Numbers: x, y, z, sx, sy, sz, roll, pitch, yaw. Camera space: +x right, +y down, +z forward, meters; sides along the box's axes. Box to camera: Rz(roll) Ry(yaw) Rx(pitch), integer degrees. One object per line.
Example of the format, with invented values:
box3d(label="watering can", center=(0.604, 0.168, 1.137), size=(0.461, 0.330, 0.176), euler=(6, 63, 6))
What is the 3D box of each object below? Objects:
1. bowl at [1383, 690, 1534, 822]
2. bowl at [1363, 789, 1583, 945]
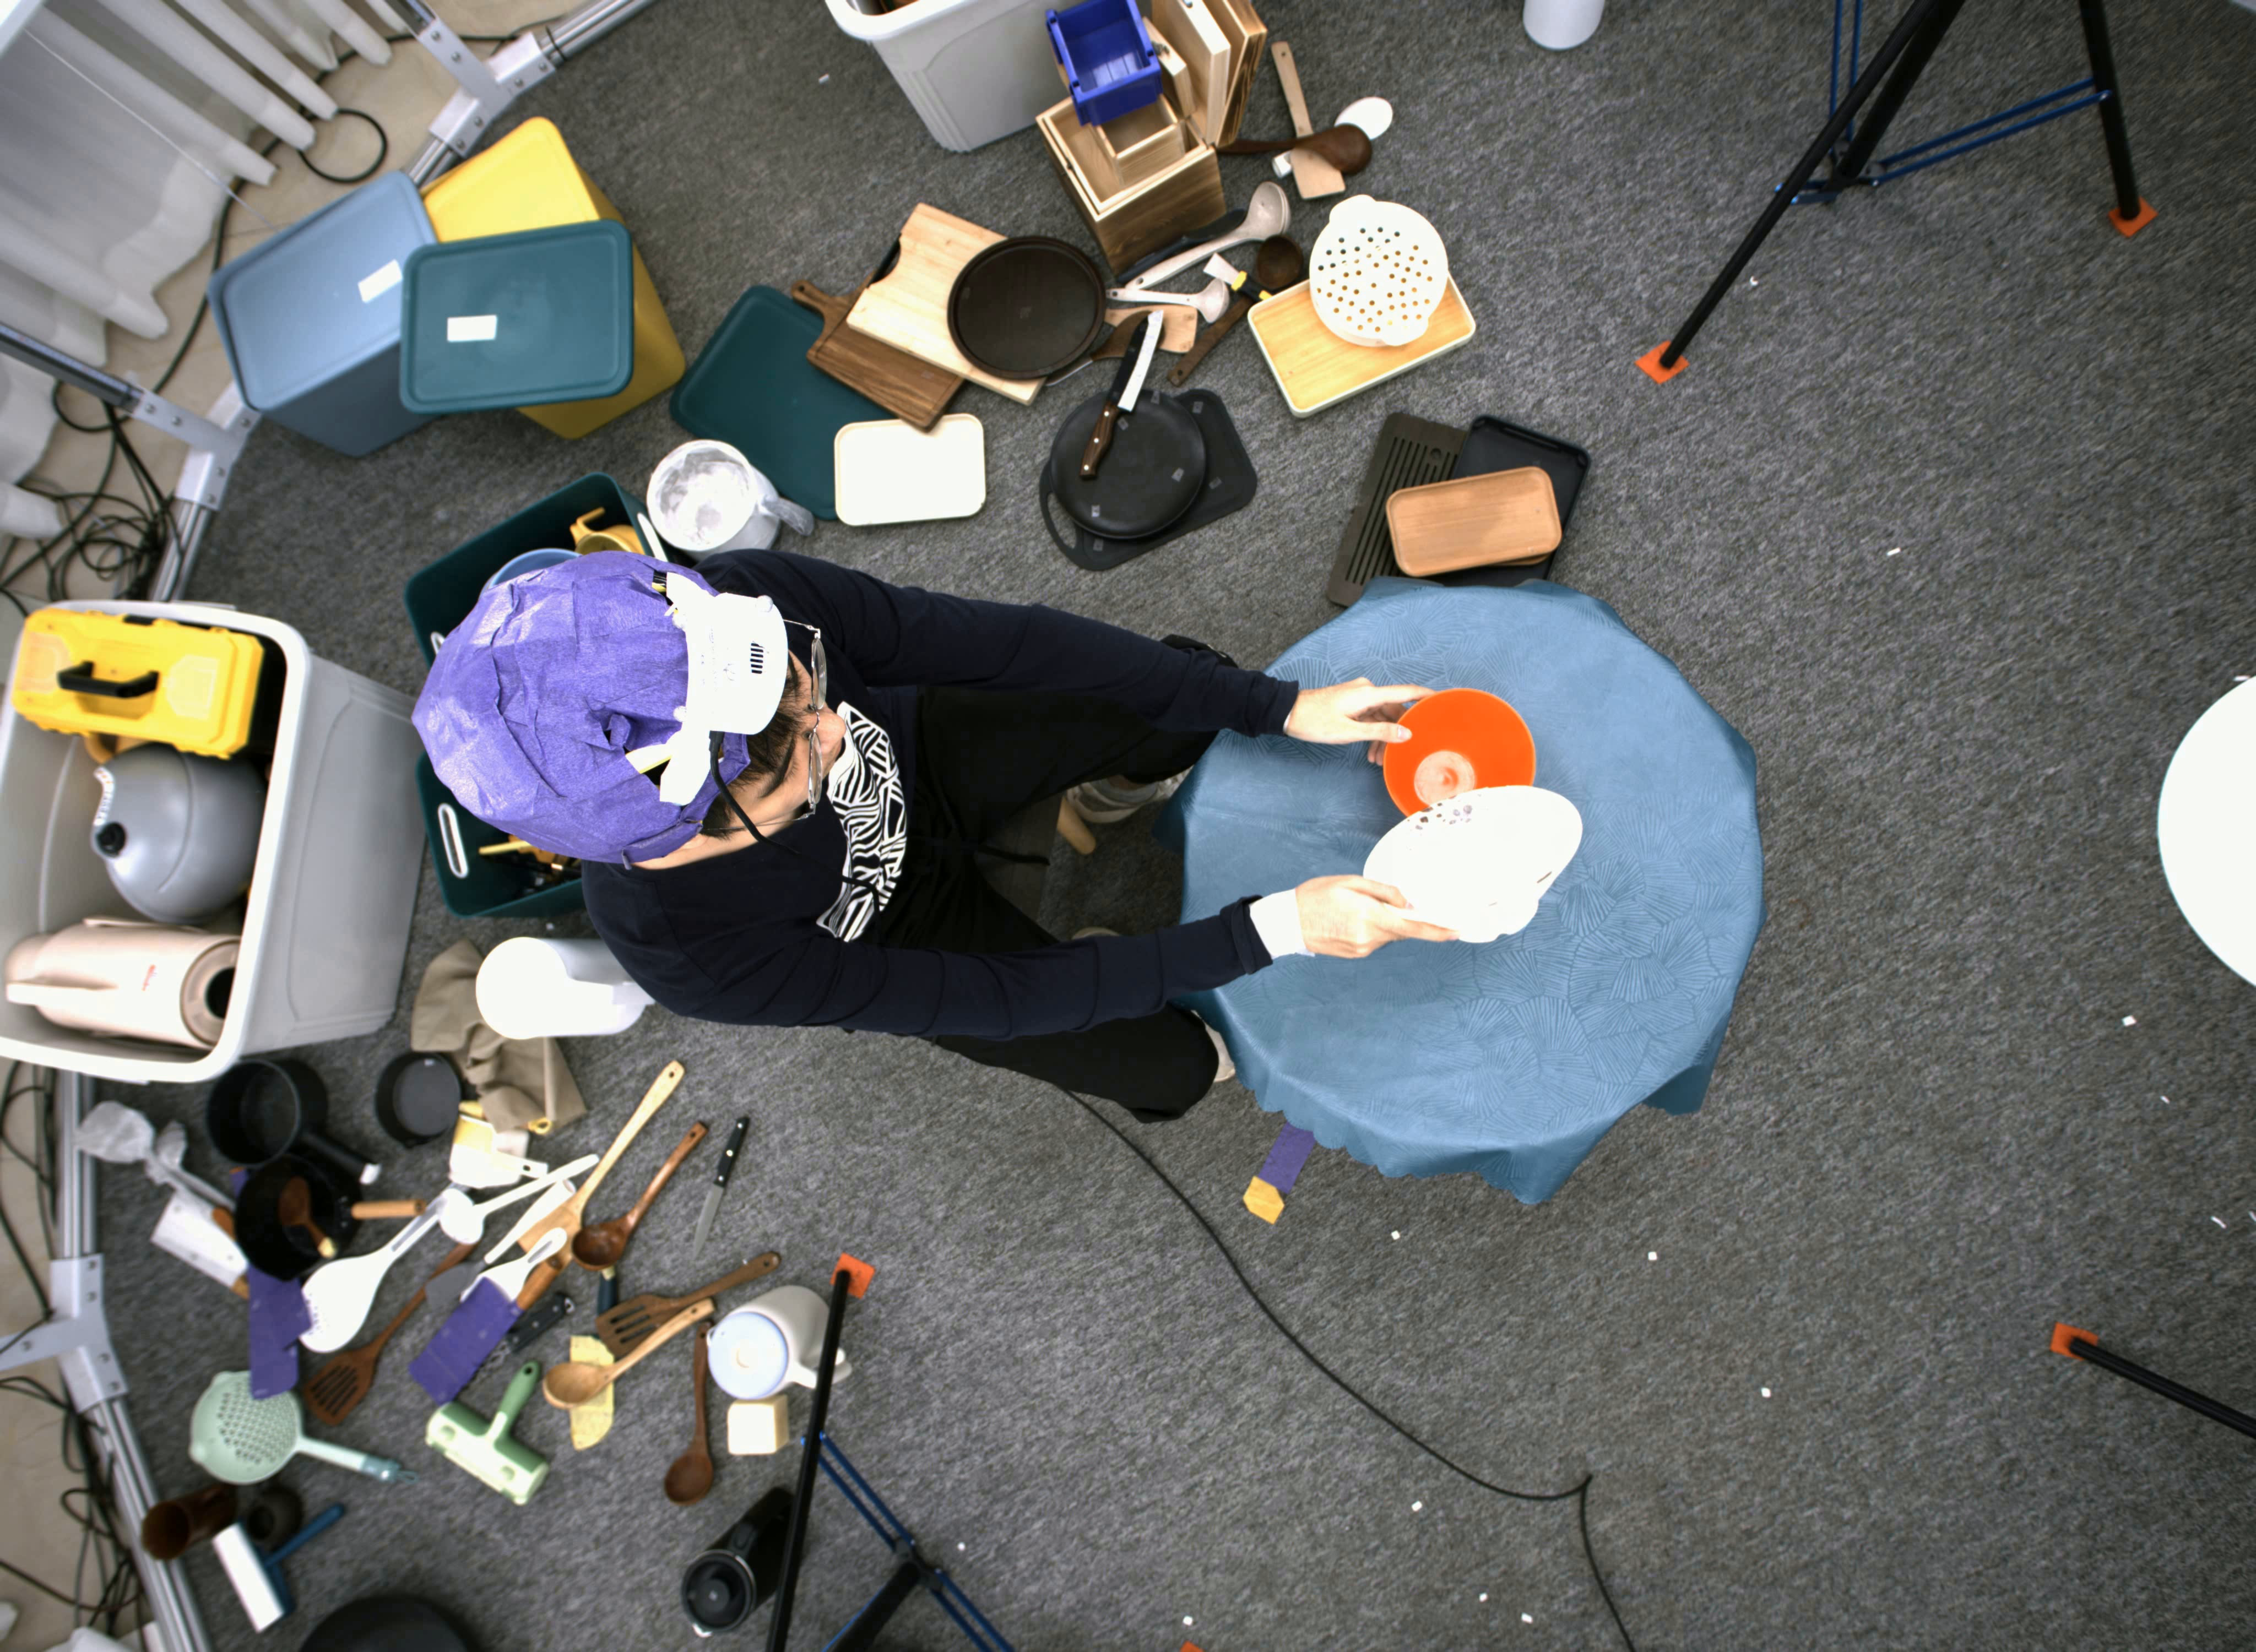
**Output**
box3d(label="bowl", center=(0.338, -0.059, 1.406), size=(0.149, 0.104, 0.147), euler=(-1, 86, 15))
box3d(label="bowl", center=(0.326, 0.051, 1.271), size=(0.205, 0.199, 0.079), euler=(-23, 117, 8))
